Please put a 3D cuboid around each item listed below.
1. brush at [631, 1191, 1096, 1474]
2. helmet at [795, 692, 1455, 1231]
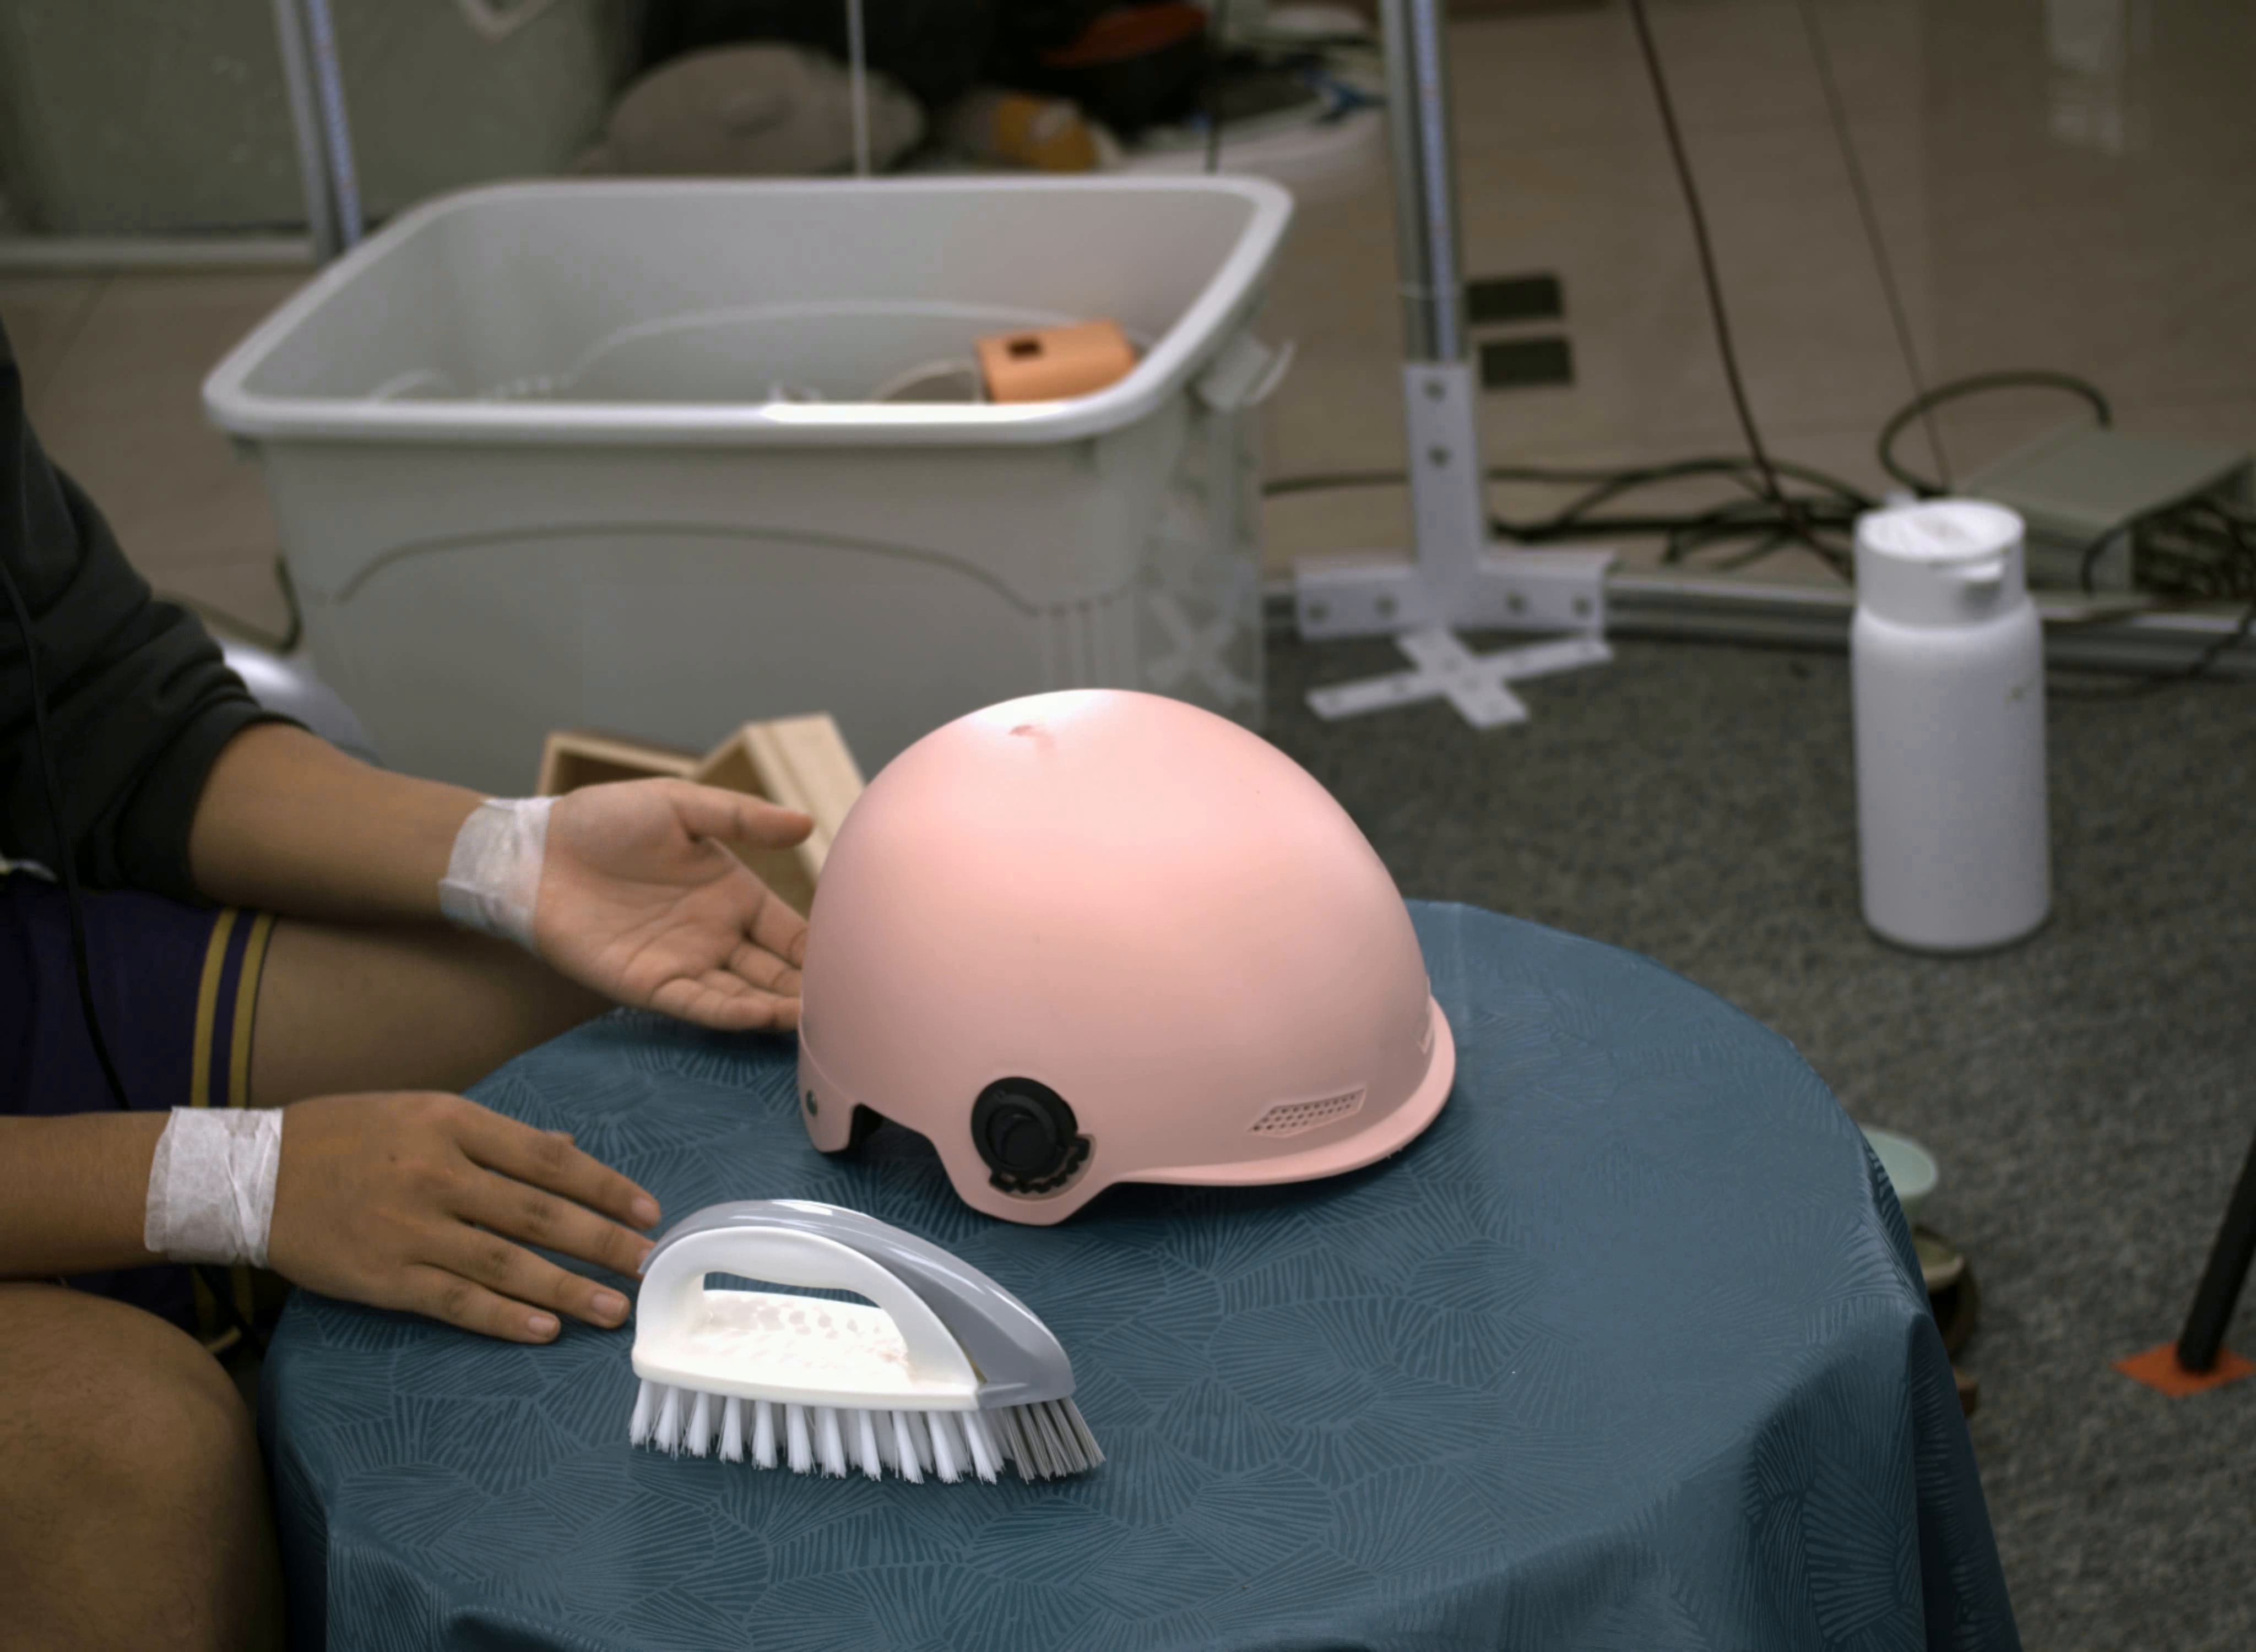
[{"bbox_3d":[-0.094,0.174,1.985,0.175,0.096,0.060,8,31,24],"label":"brush"},{"bbox_3d":[-0.004,0.037,2.187,0.264,0.161,0.231,14,31,29],"label":"helmet"}]
